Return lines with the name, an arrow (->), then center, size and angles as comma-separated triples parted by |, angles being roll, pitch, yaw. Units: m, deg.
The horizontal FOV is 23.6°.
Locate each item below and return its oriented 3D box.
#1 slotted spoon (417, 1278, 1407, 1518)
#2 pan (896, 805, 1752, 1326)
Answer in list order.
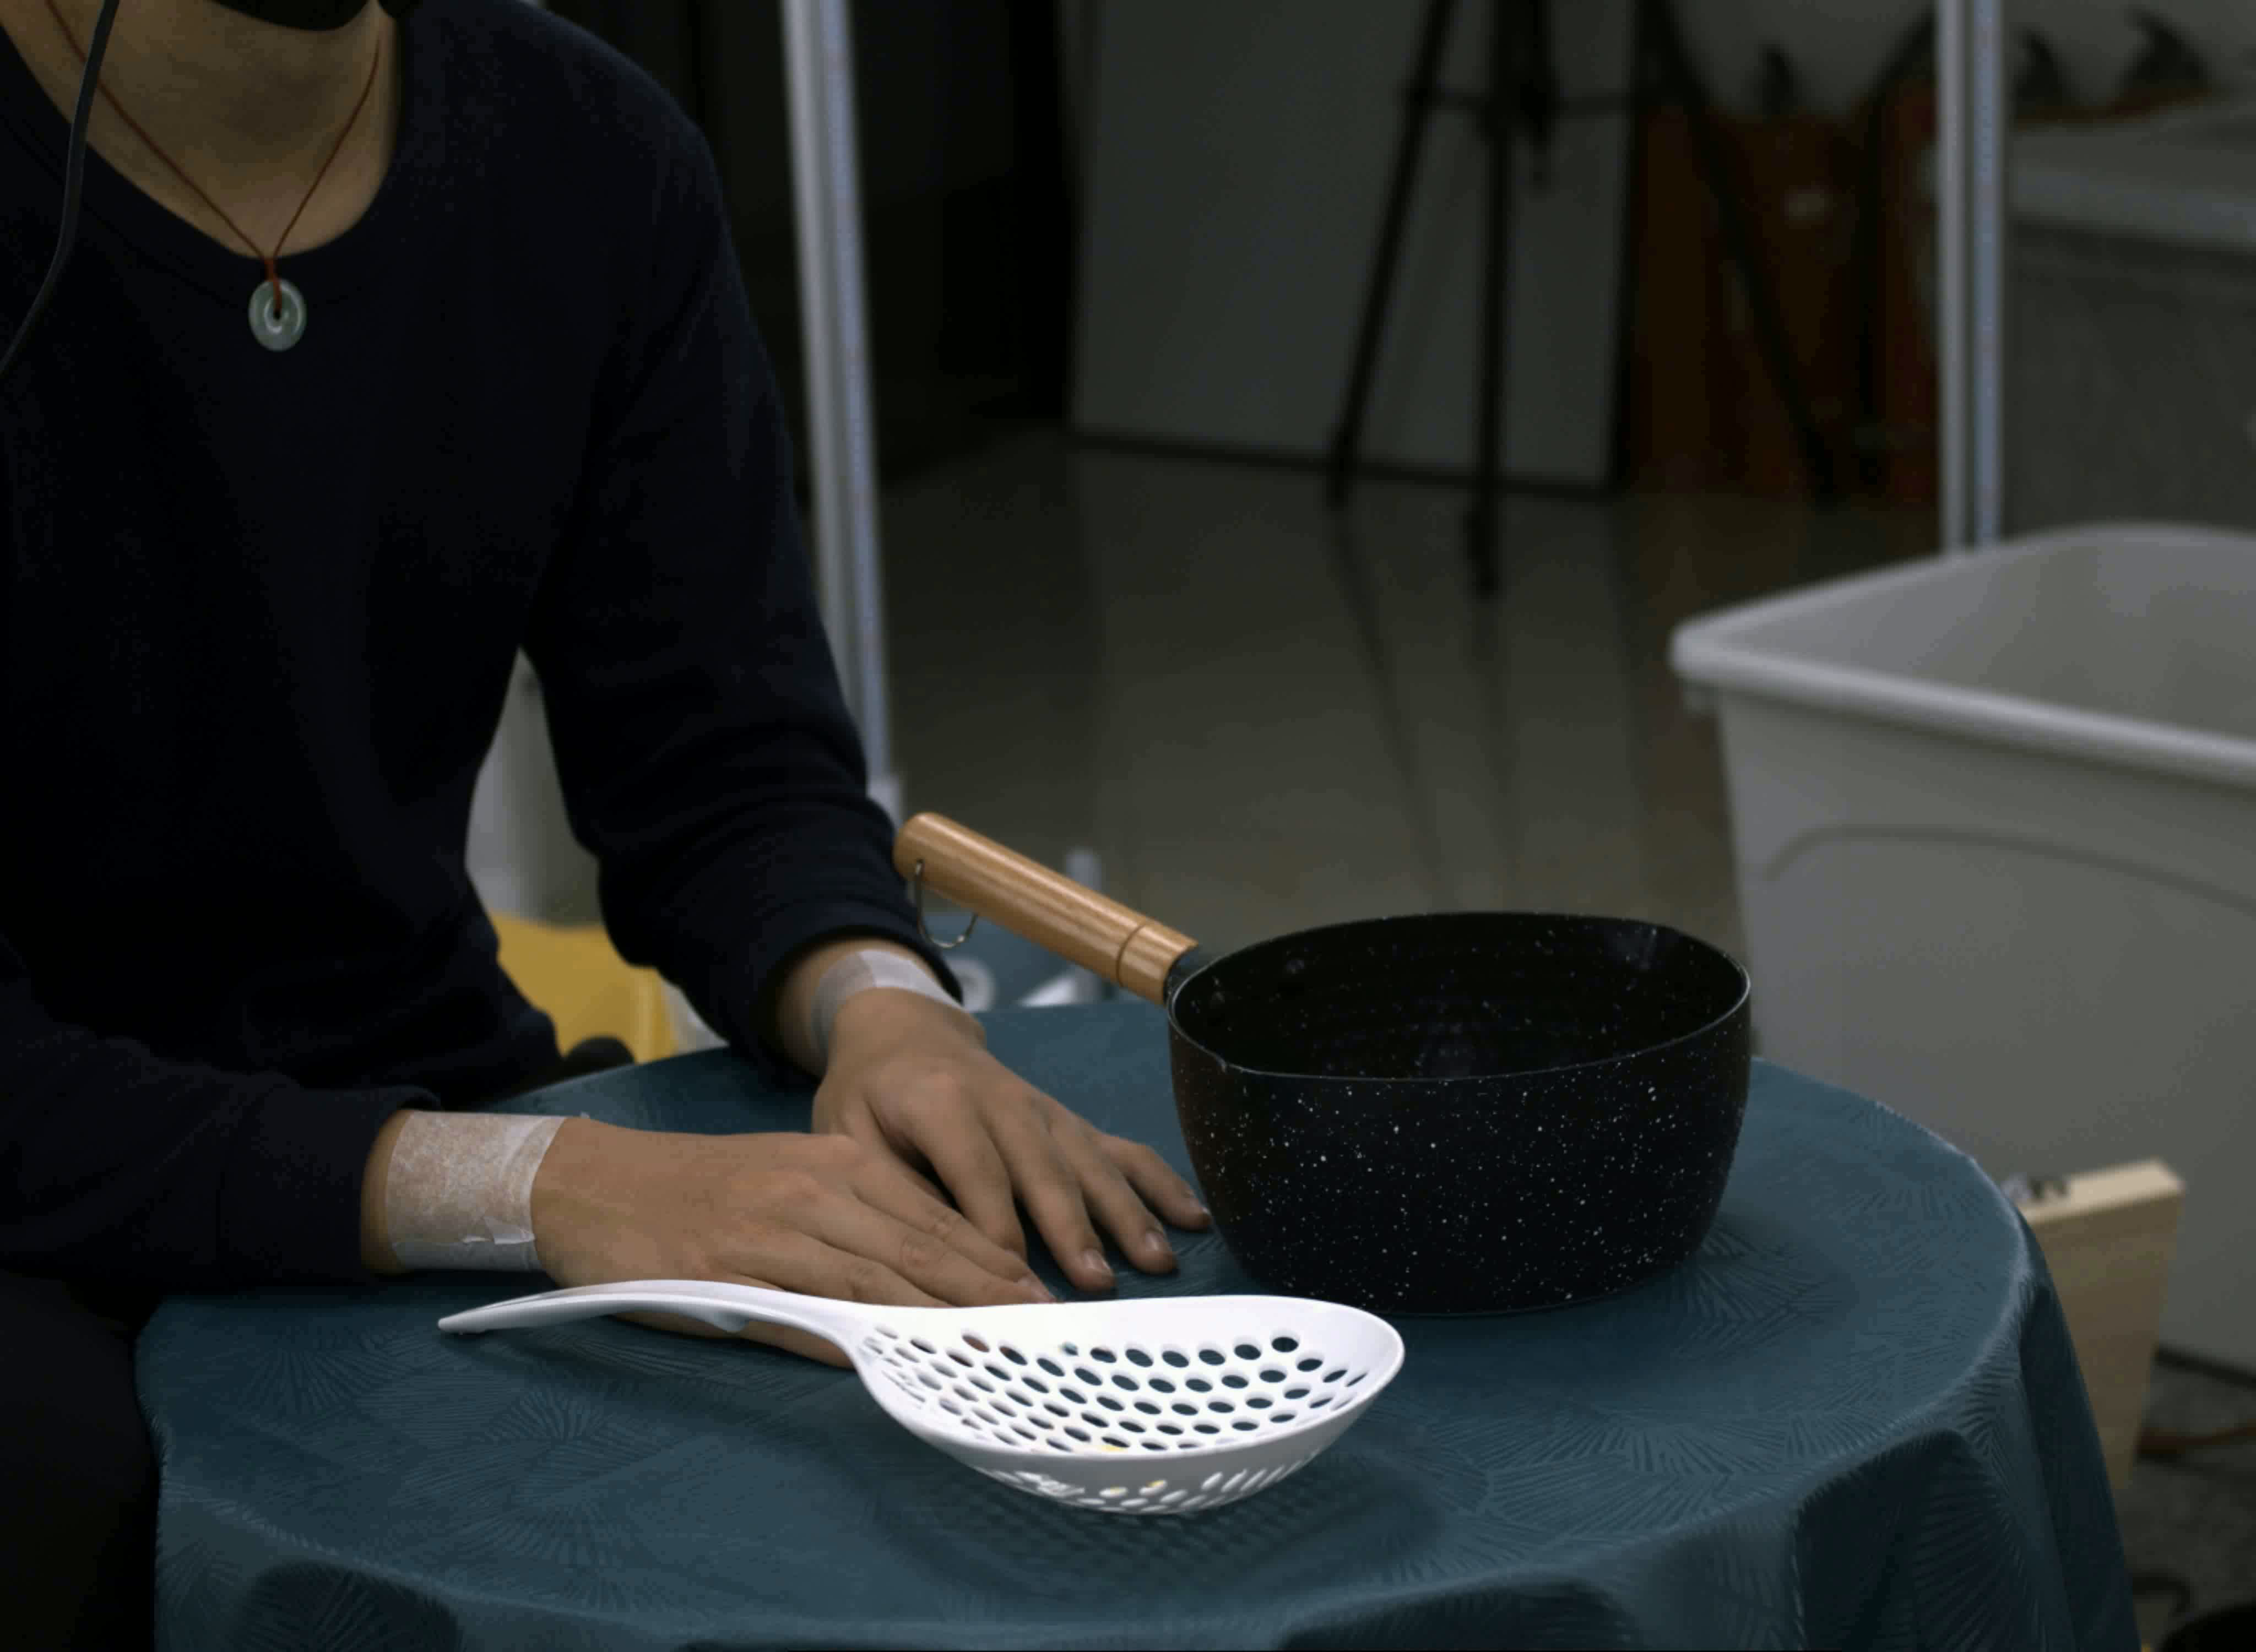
slotted spoon -> -0.075, 0.155, 1.565 | 0.350, 0.051, 0.134 | 9, 20, 38
pan -> 0.047, 0.070, 1.739 | 0.346, 0.109, 0.203 | 11, 21, 43
